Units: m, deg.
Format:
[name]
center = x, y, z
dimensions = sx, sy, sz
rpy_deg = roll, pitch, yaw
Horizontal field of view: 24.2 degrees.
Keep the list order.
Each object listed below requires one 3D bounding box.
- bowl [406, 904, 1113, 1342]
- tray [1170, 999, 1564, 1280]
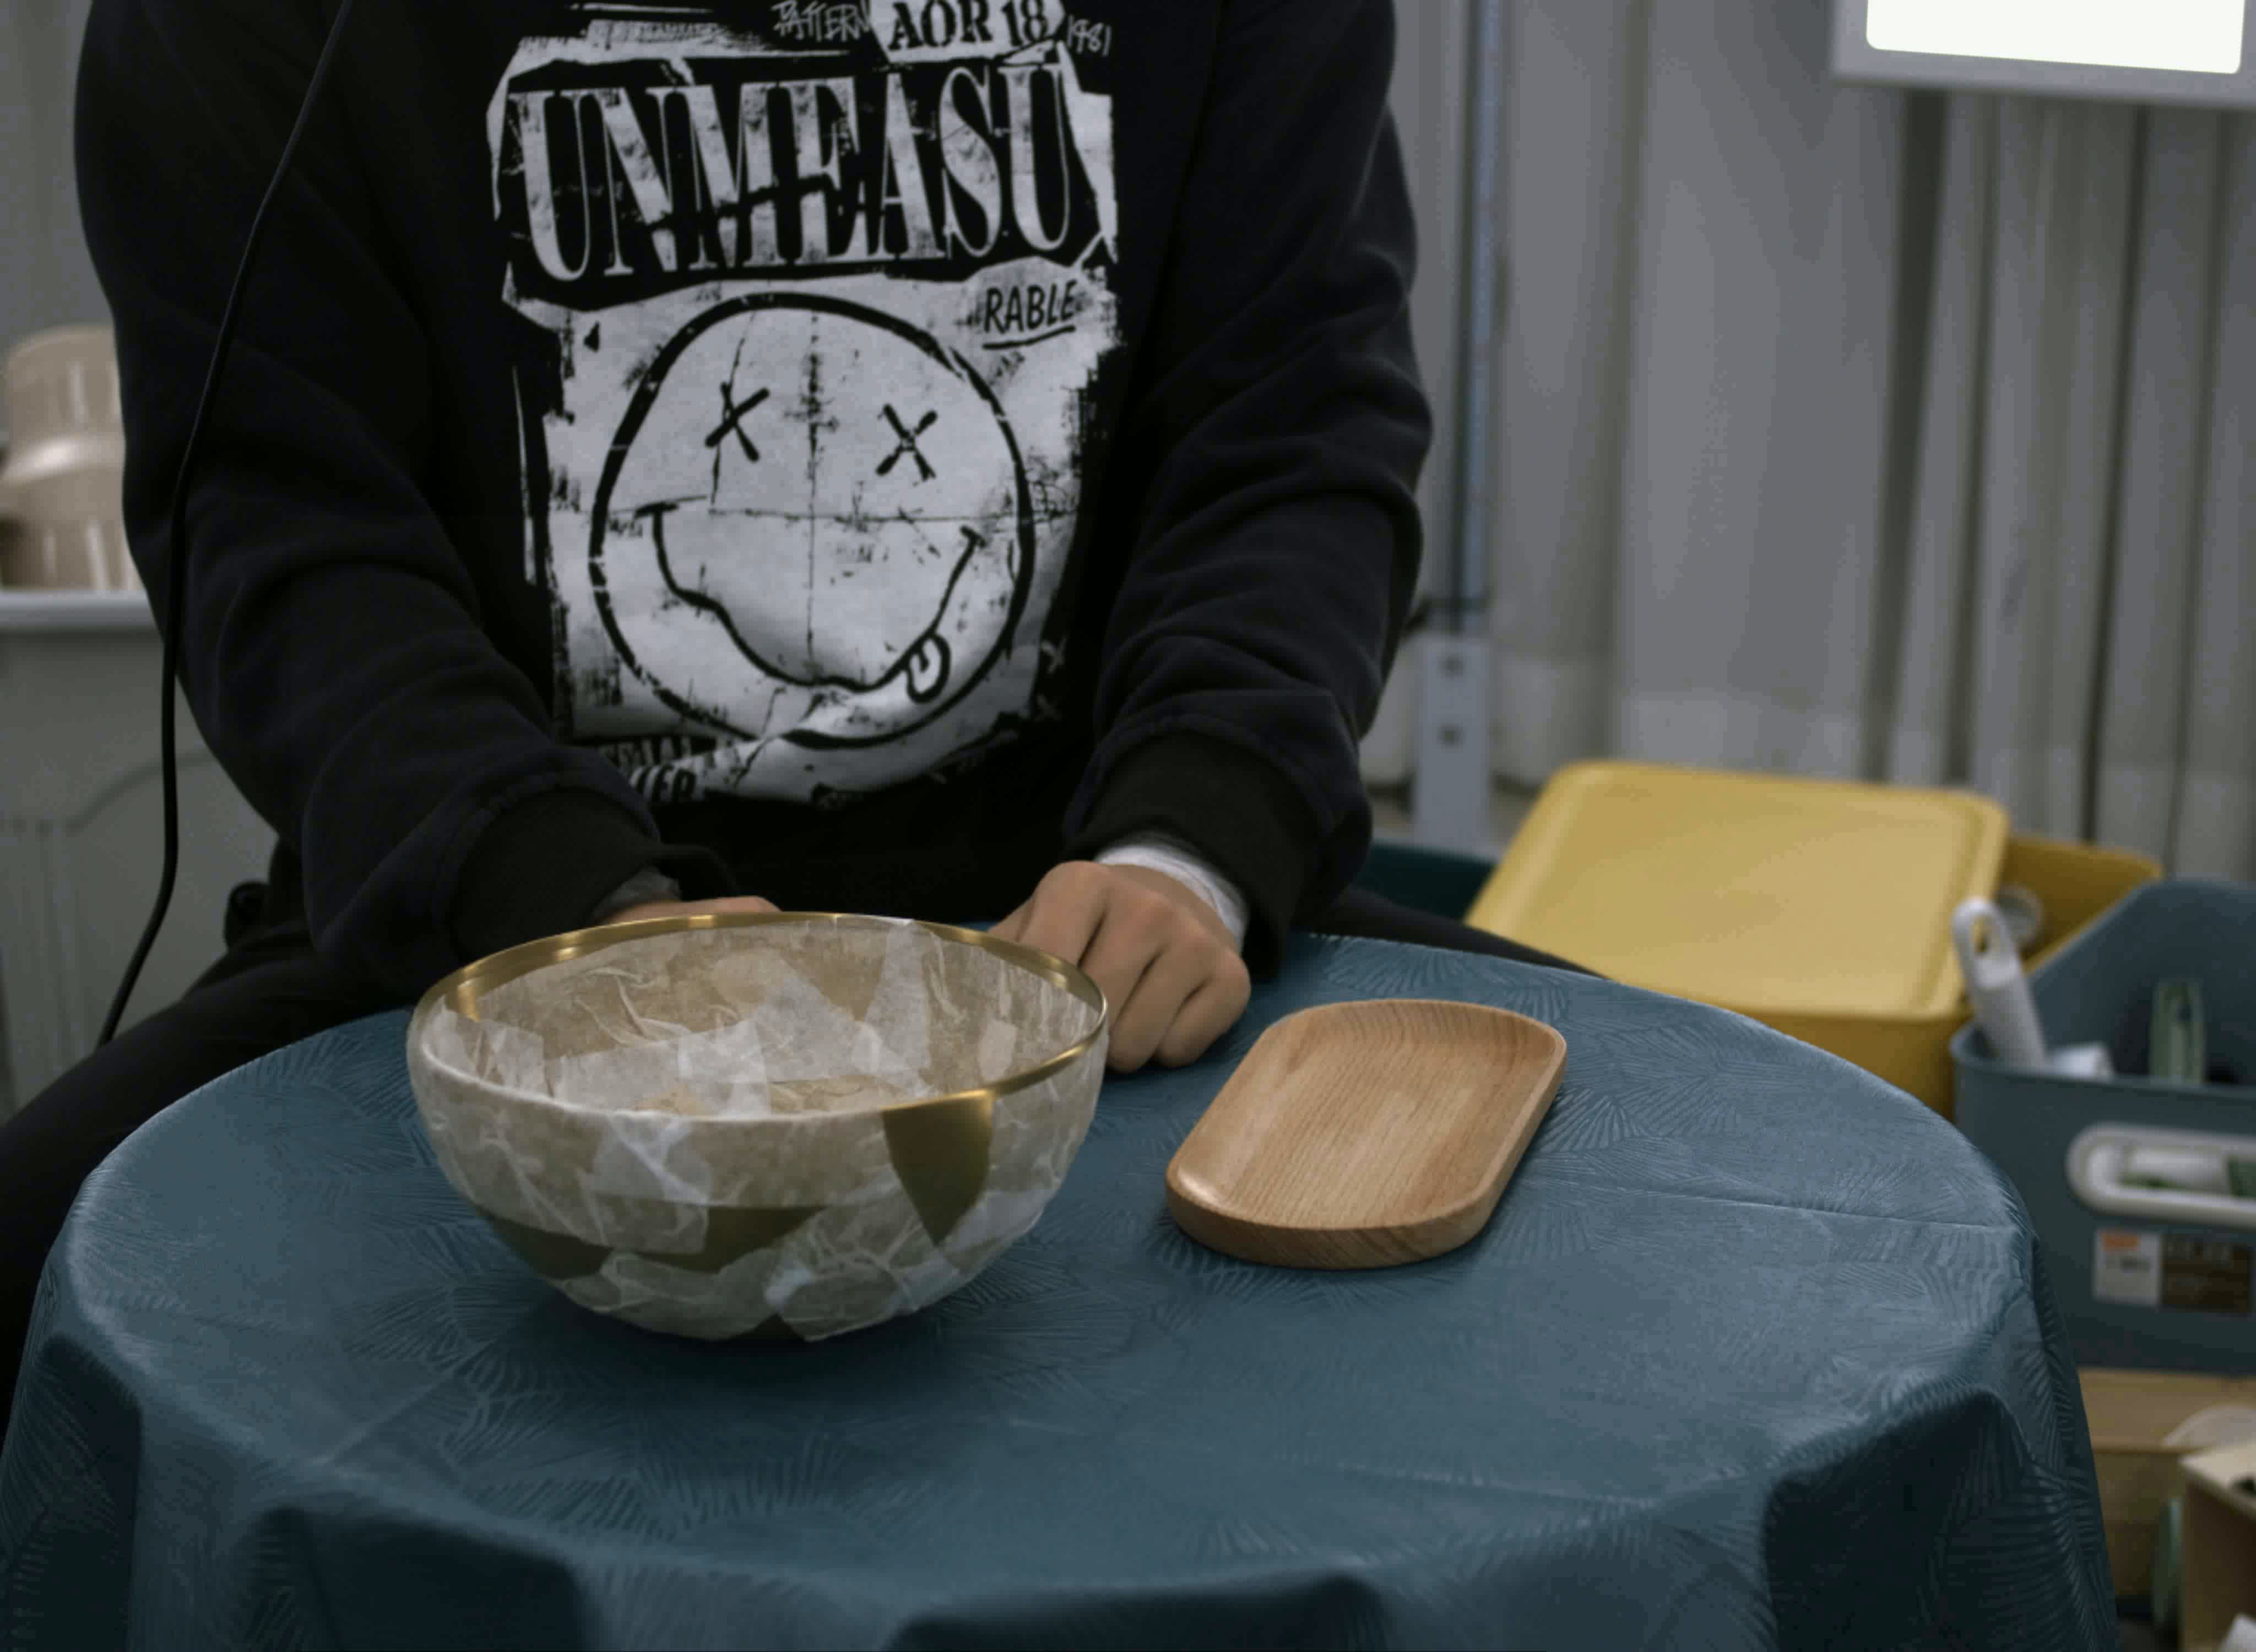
[bowl]
center = -0.101, 0.093, 1.518
dimensions = 0.214, 0.095, 0.213
rpy_deg = -1, 16, 1
[tray]
center = 0.078, 0.096, 1.659
dimensions = 0.101, 0.020, 0.230
rpy_deg = 2, 18, 13
